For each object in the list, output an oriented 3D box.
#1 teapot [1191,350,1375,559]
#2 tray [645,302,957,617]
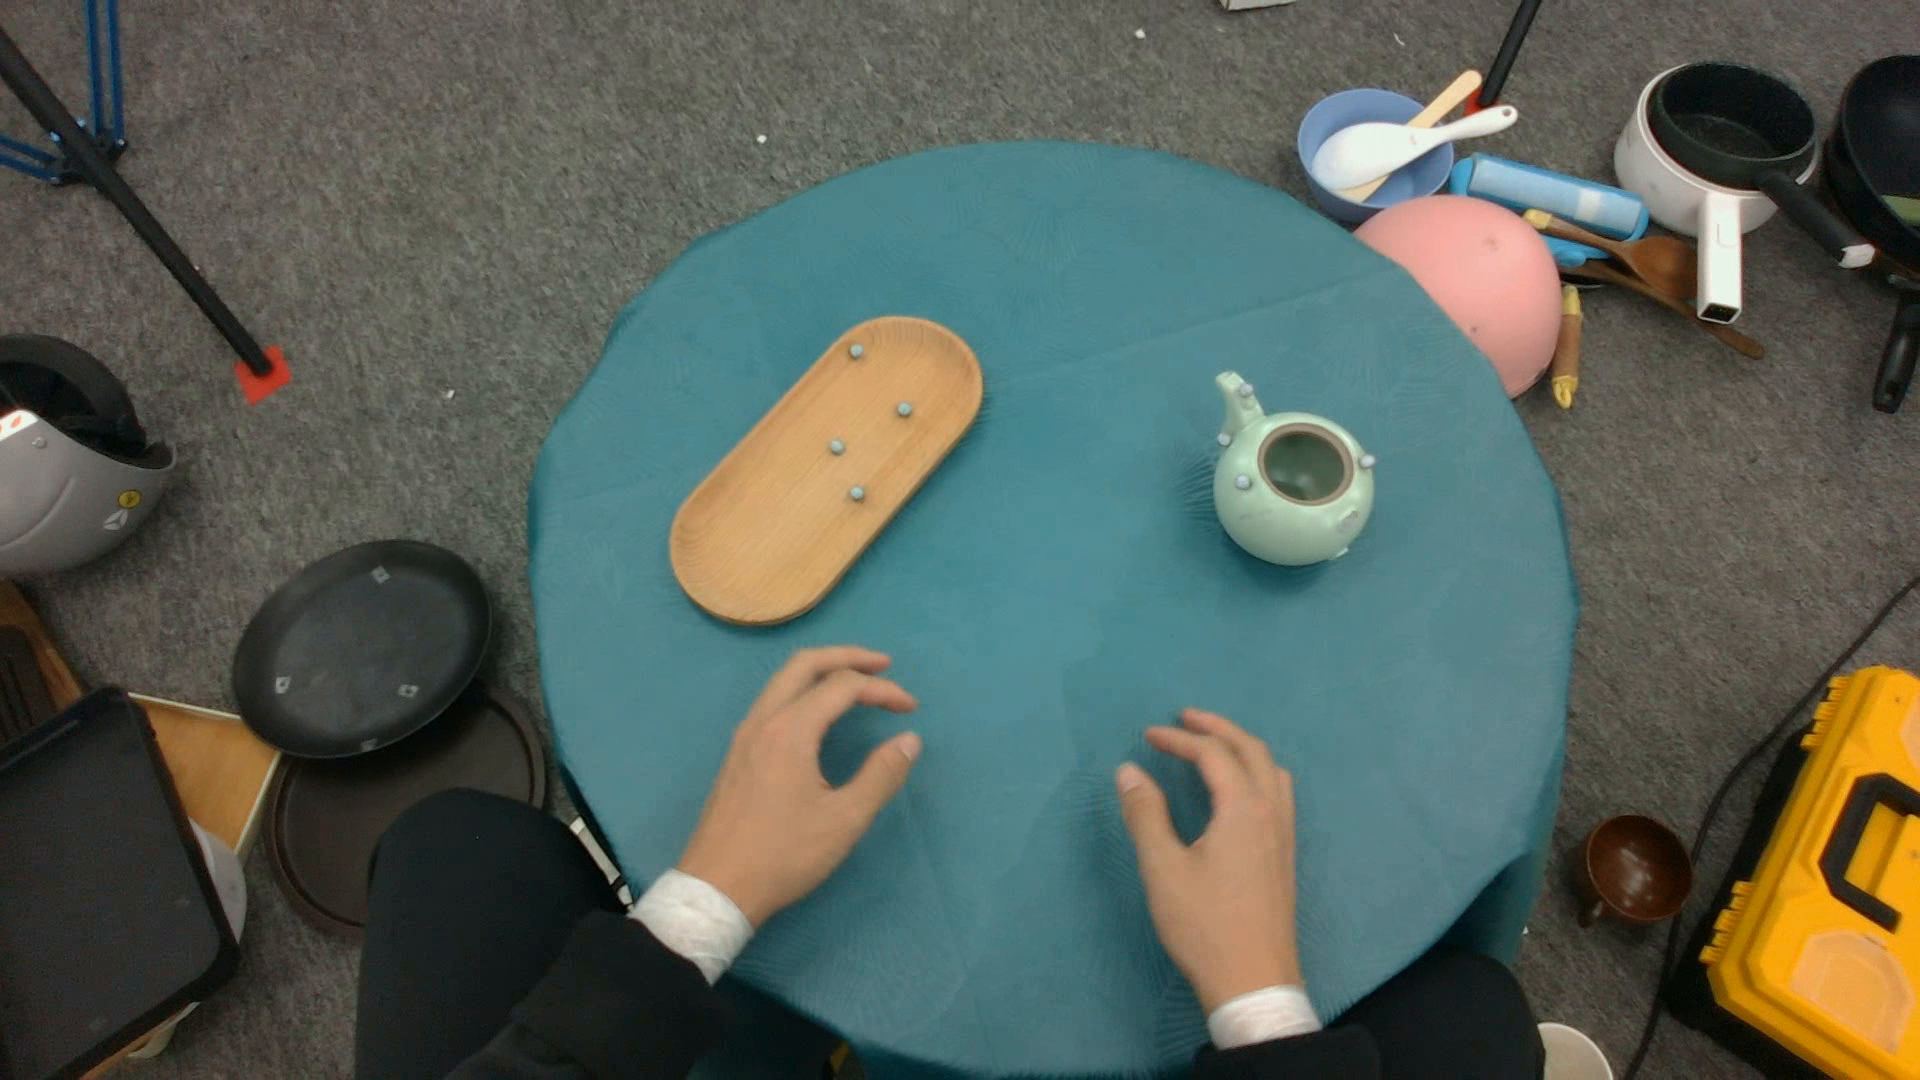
[{"bbox_3d":[0.176,-0.041,0.781,0.088,0.074,0.144,-32,68,-15],"label":"teapot"},{"bbox_3d":[-0.090,-0.051,0.807,0.101,0.020,0.232,32,68,15],"label":"tray"}]
